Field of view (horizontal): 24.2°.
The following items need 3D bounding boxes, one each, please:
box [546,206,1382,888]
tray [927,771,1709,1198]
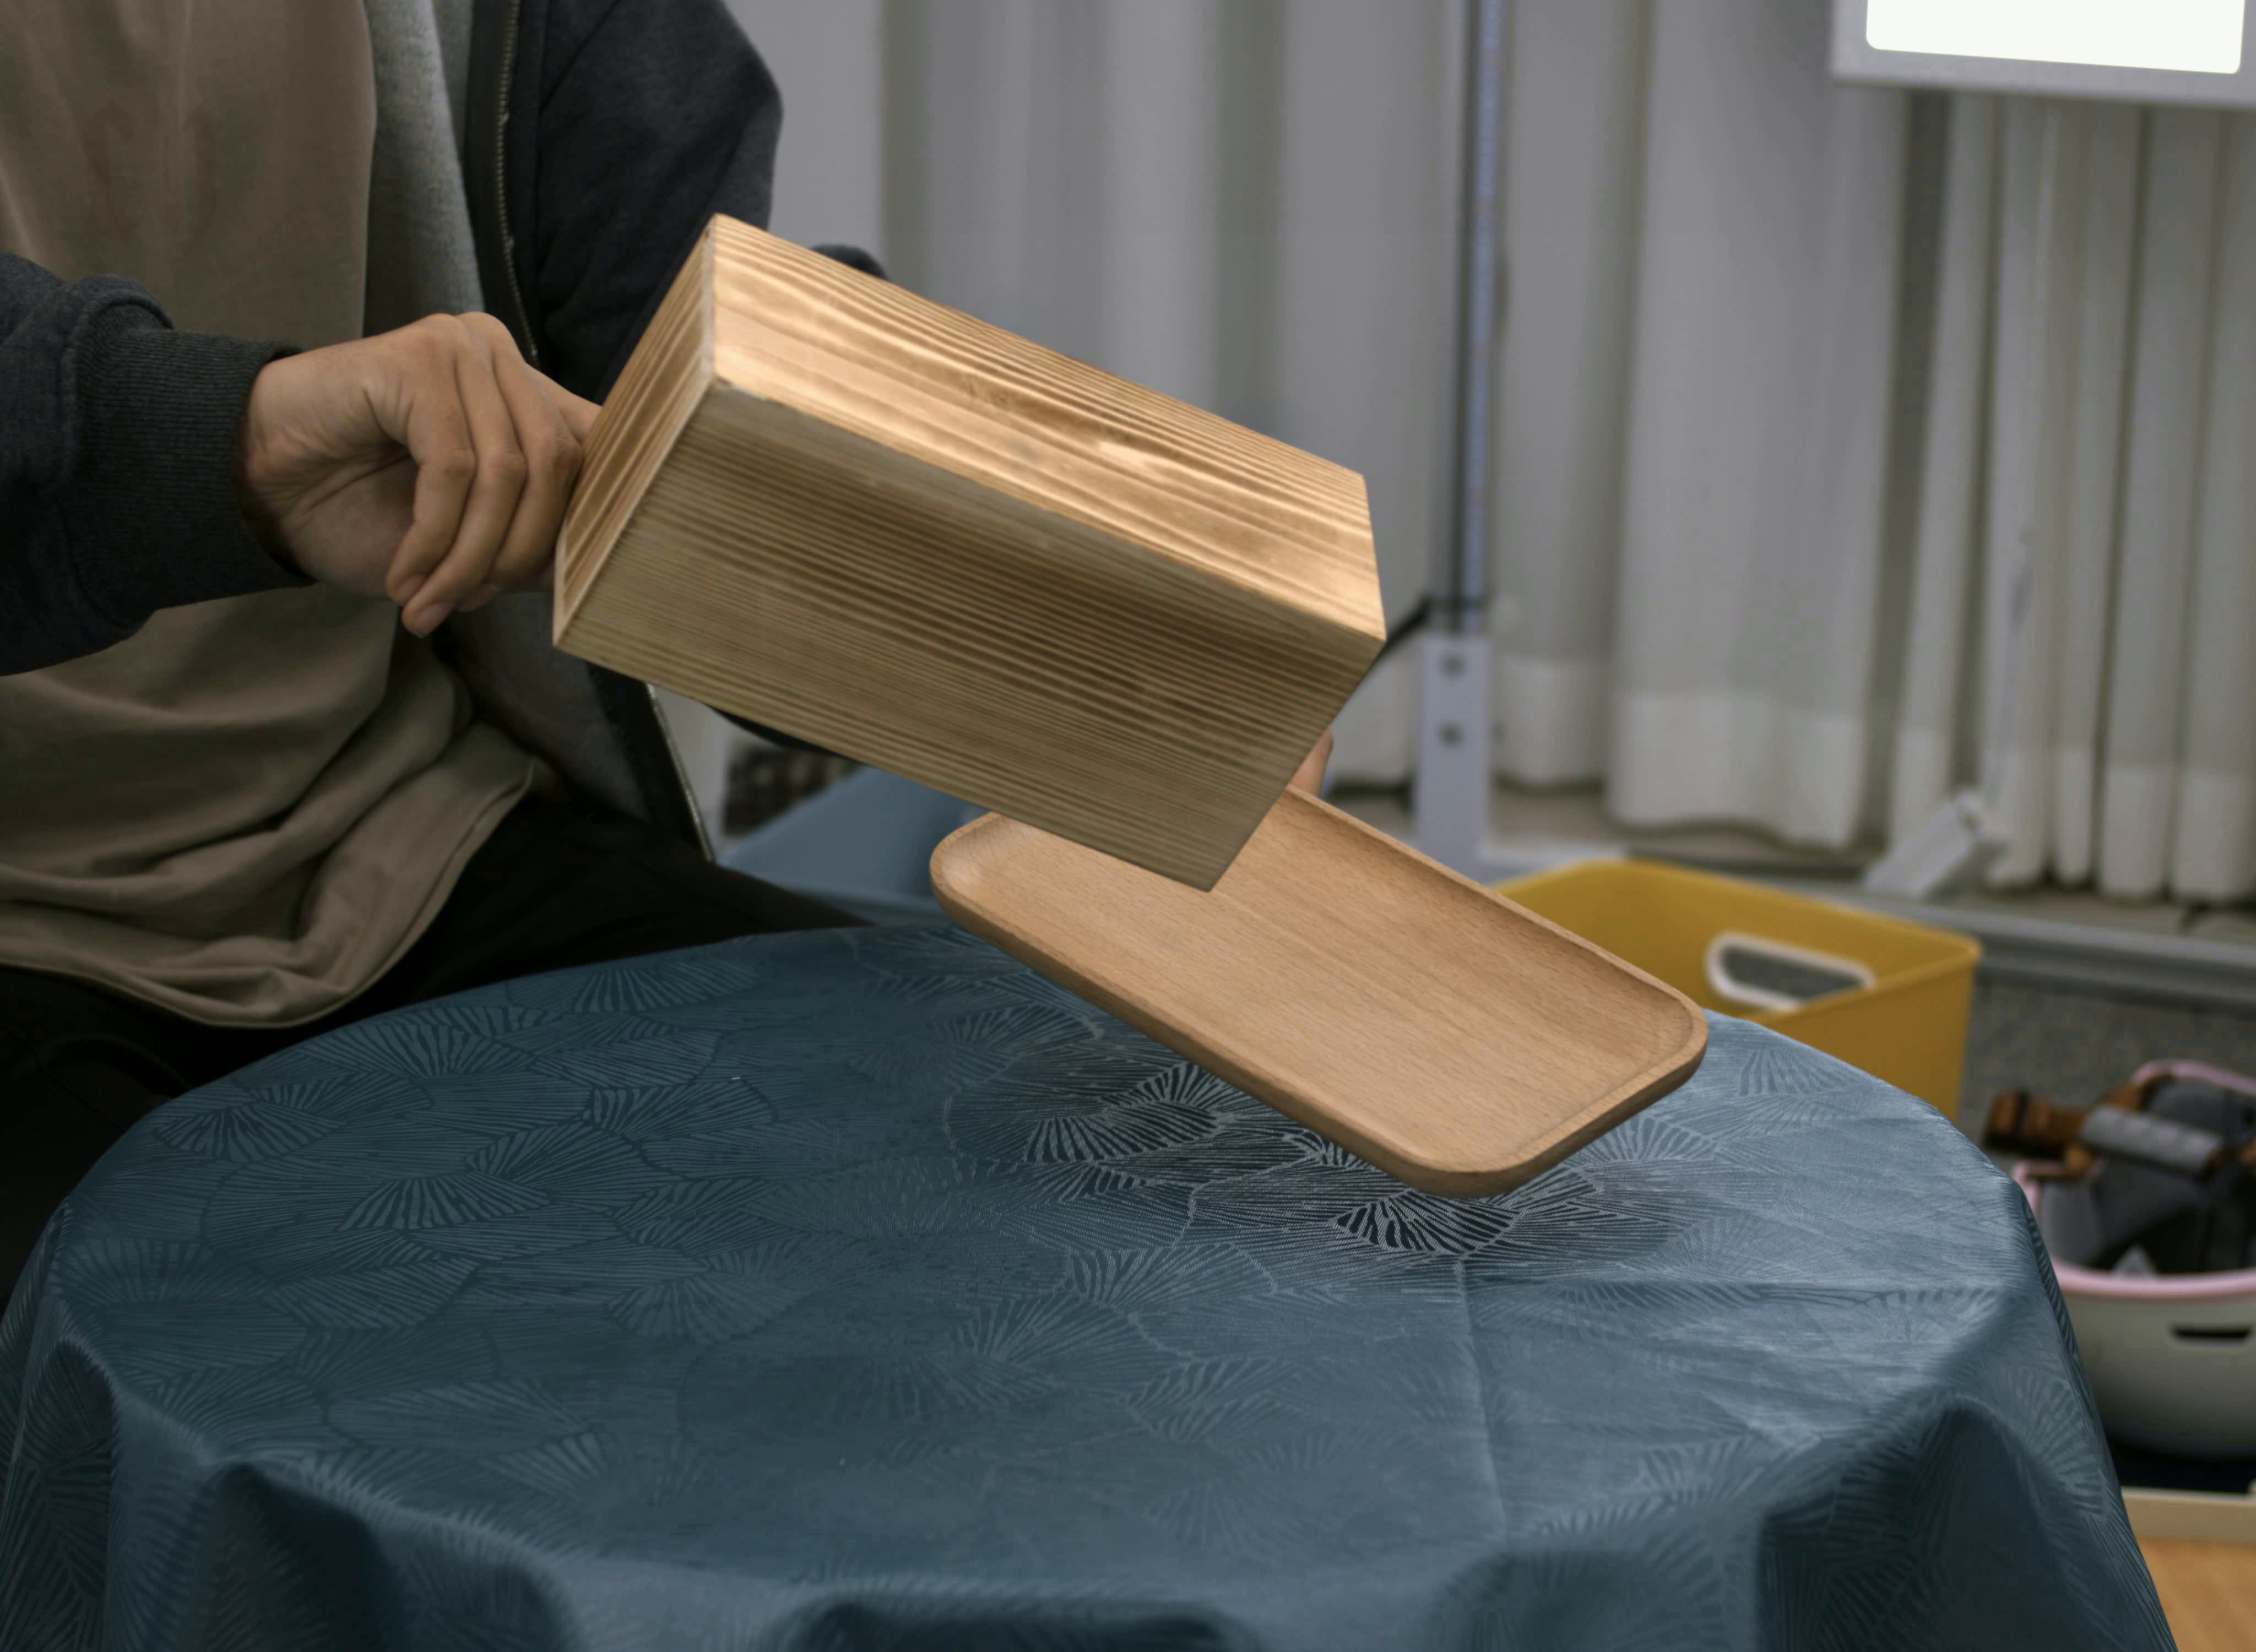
[{"bbox_3d":[-0.047,-0.077,1.494,0.213,0.108,0.079,20,36,-21],"label":"box"},{"bbox_3d":[0.057,0.041,1.649,0.131,0.023,0.247,-25,41,-39],"label":"tray"}]
